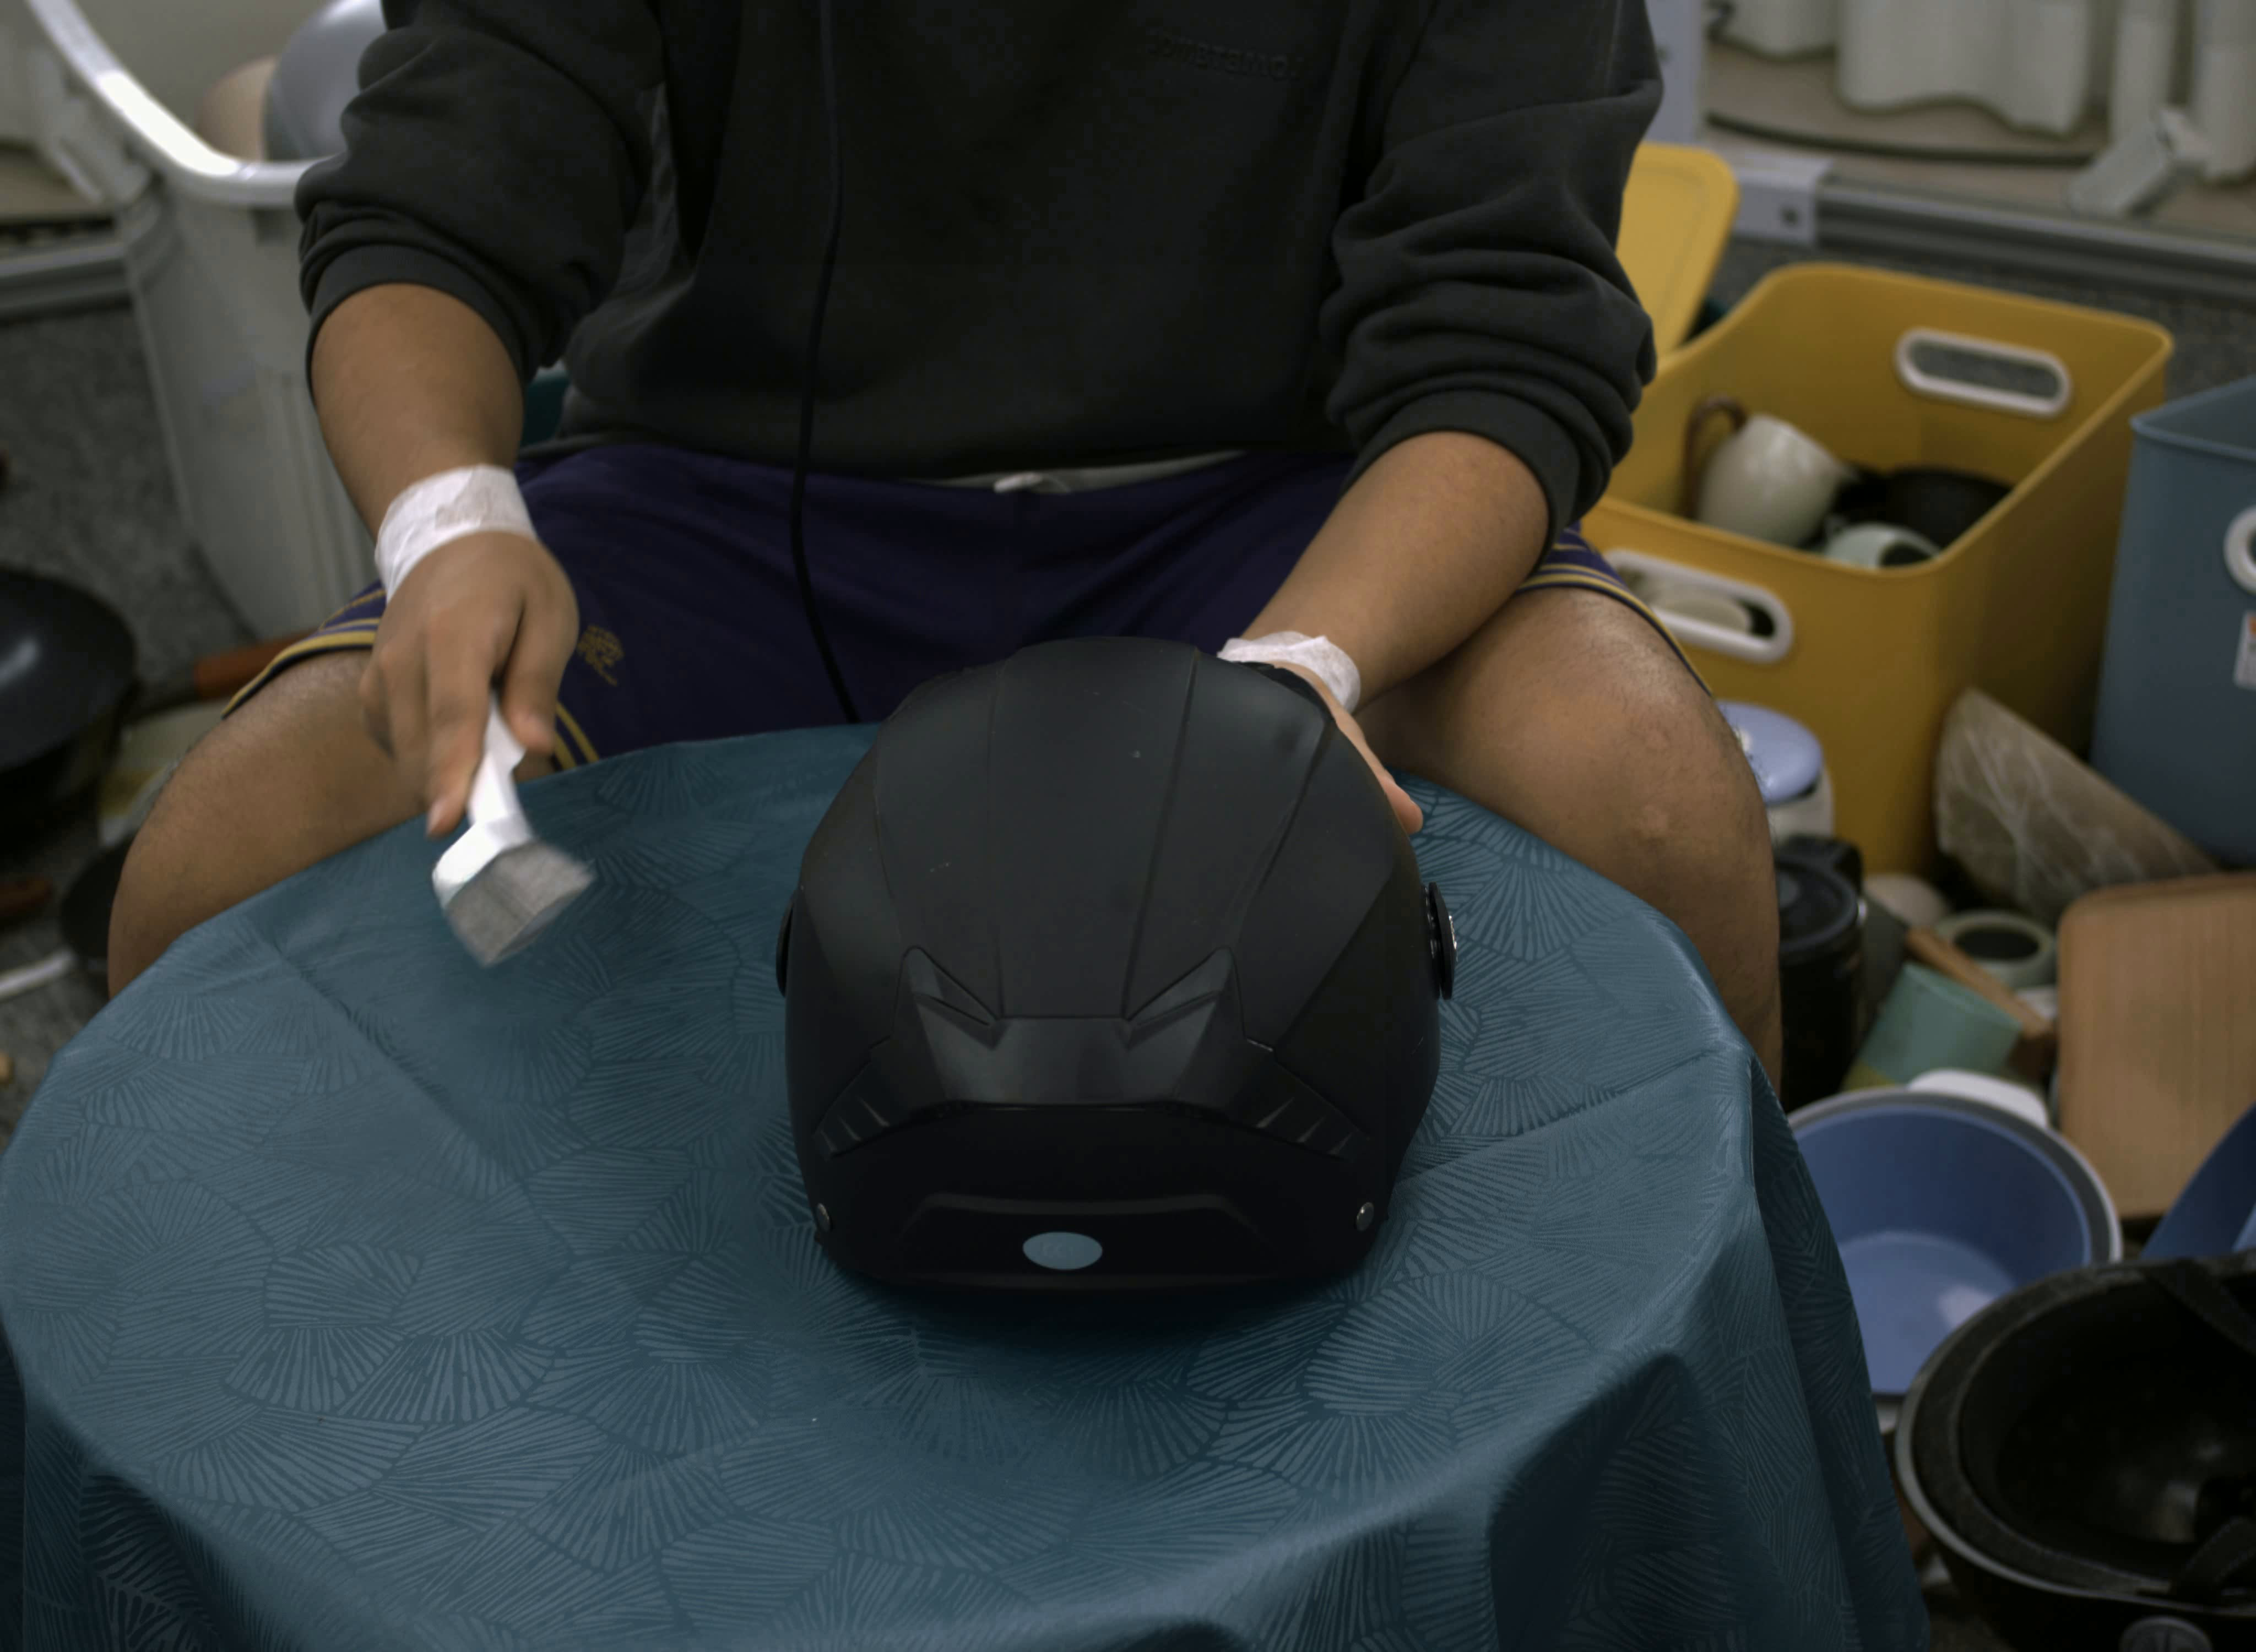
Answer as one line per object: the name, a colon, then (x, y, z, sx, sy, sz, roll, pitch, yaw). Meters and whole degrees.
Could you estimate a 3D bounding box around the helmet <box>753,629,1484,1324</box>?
helmet: (-0.005, 0.029, 1.842, 0.245, 0.170, 0.282, 1, 42, 6)

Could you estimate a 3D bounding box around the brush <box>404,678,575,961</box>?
brush: (-0.212, -0.002, 1.923, 0.034, 0.050, 0.245, -46, 12, 9)
